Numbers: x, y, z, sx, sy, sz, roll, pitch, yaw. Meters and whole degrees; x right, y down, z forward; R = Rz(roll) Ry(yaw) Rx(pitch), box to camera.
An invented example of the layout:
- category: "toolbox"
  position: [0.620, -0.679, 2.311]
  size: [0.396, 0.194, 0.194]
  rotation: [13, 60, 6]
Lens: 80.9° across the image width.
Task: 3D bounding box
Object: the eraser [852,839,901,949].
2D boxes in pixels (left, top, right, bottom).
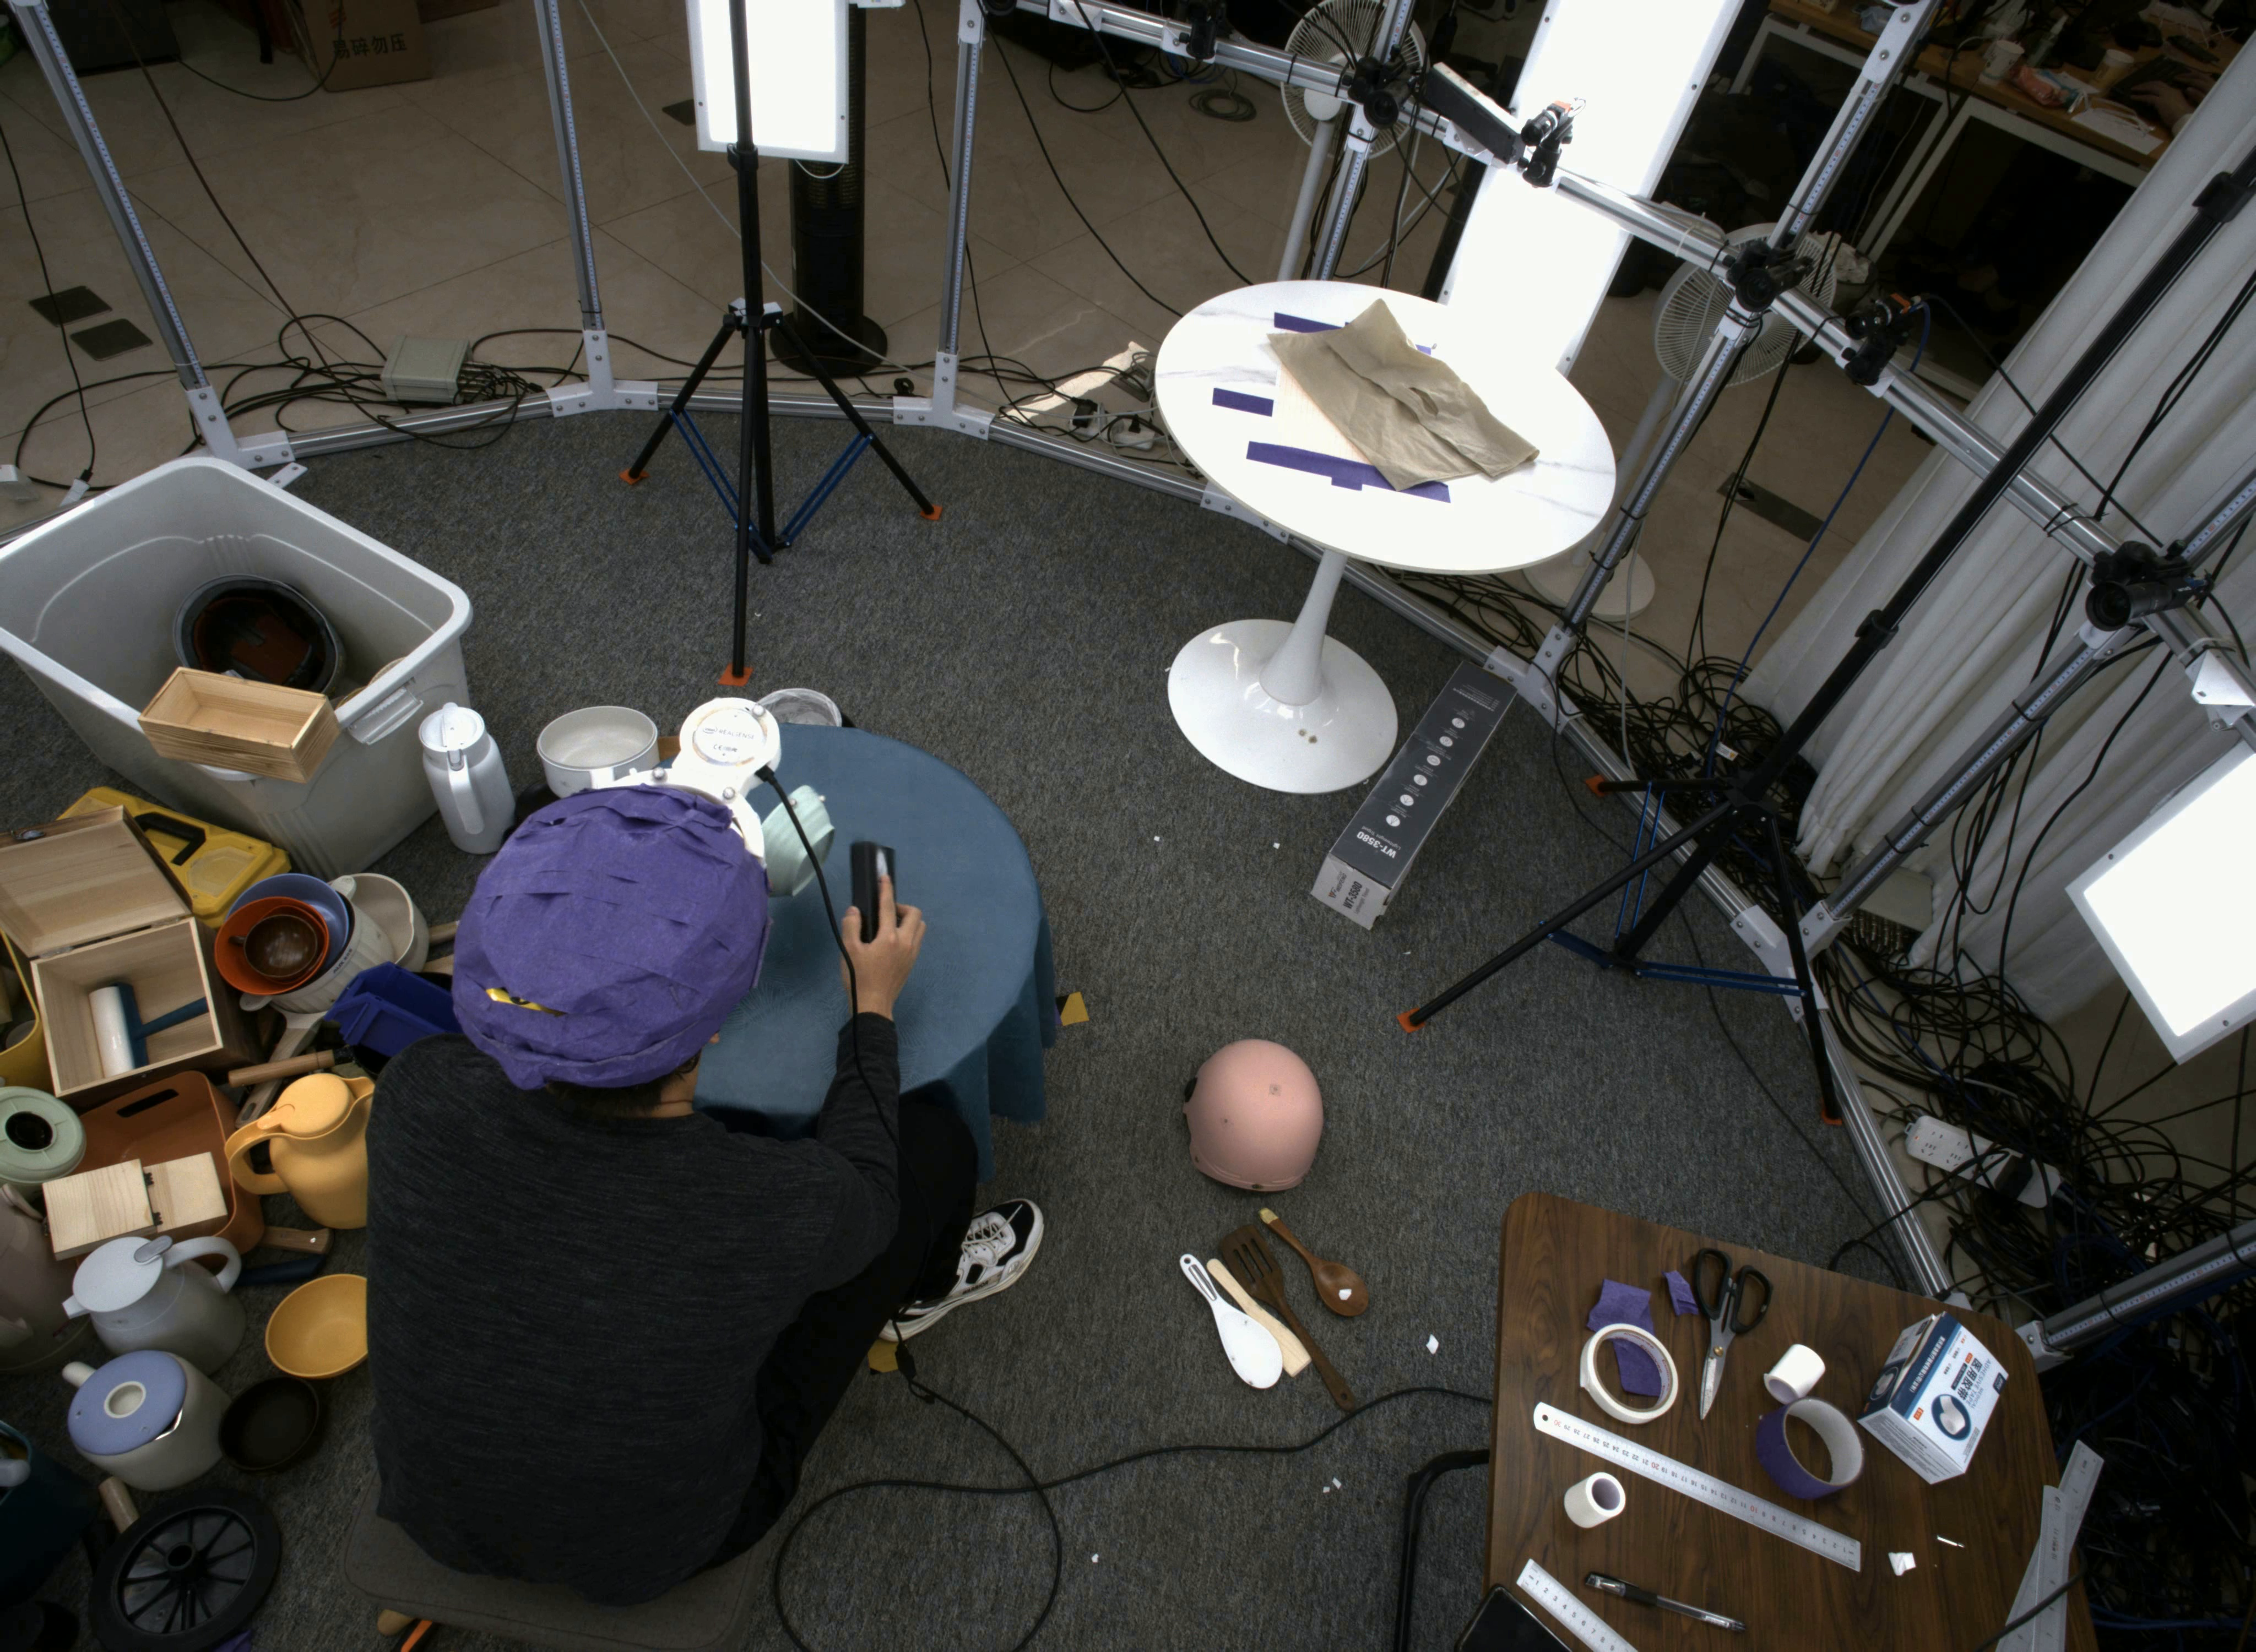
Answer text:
- category: "eraser"
  position: [-0.299, 0.080, 1.545]
  size: [0.055, 0.030, 0.125]
  rotation: [15, 66, -54]

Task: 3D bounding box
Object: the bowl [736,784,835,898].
- category: "bowl"
  position: [-0.402, 0.028, 1.551]
  size: [0.058, 0.153, 0.151]
  rotation: [31, 52, 4]
